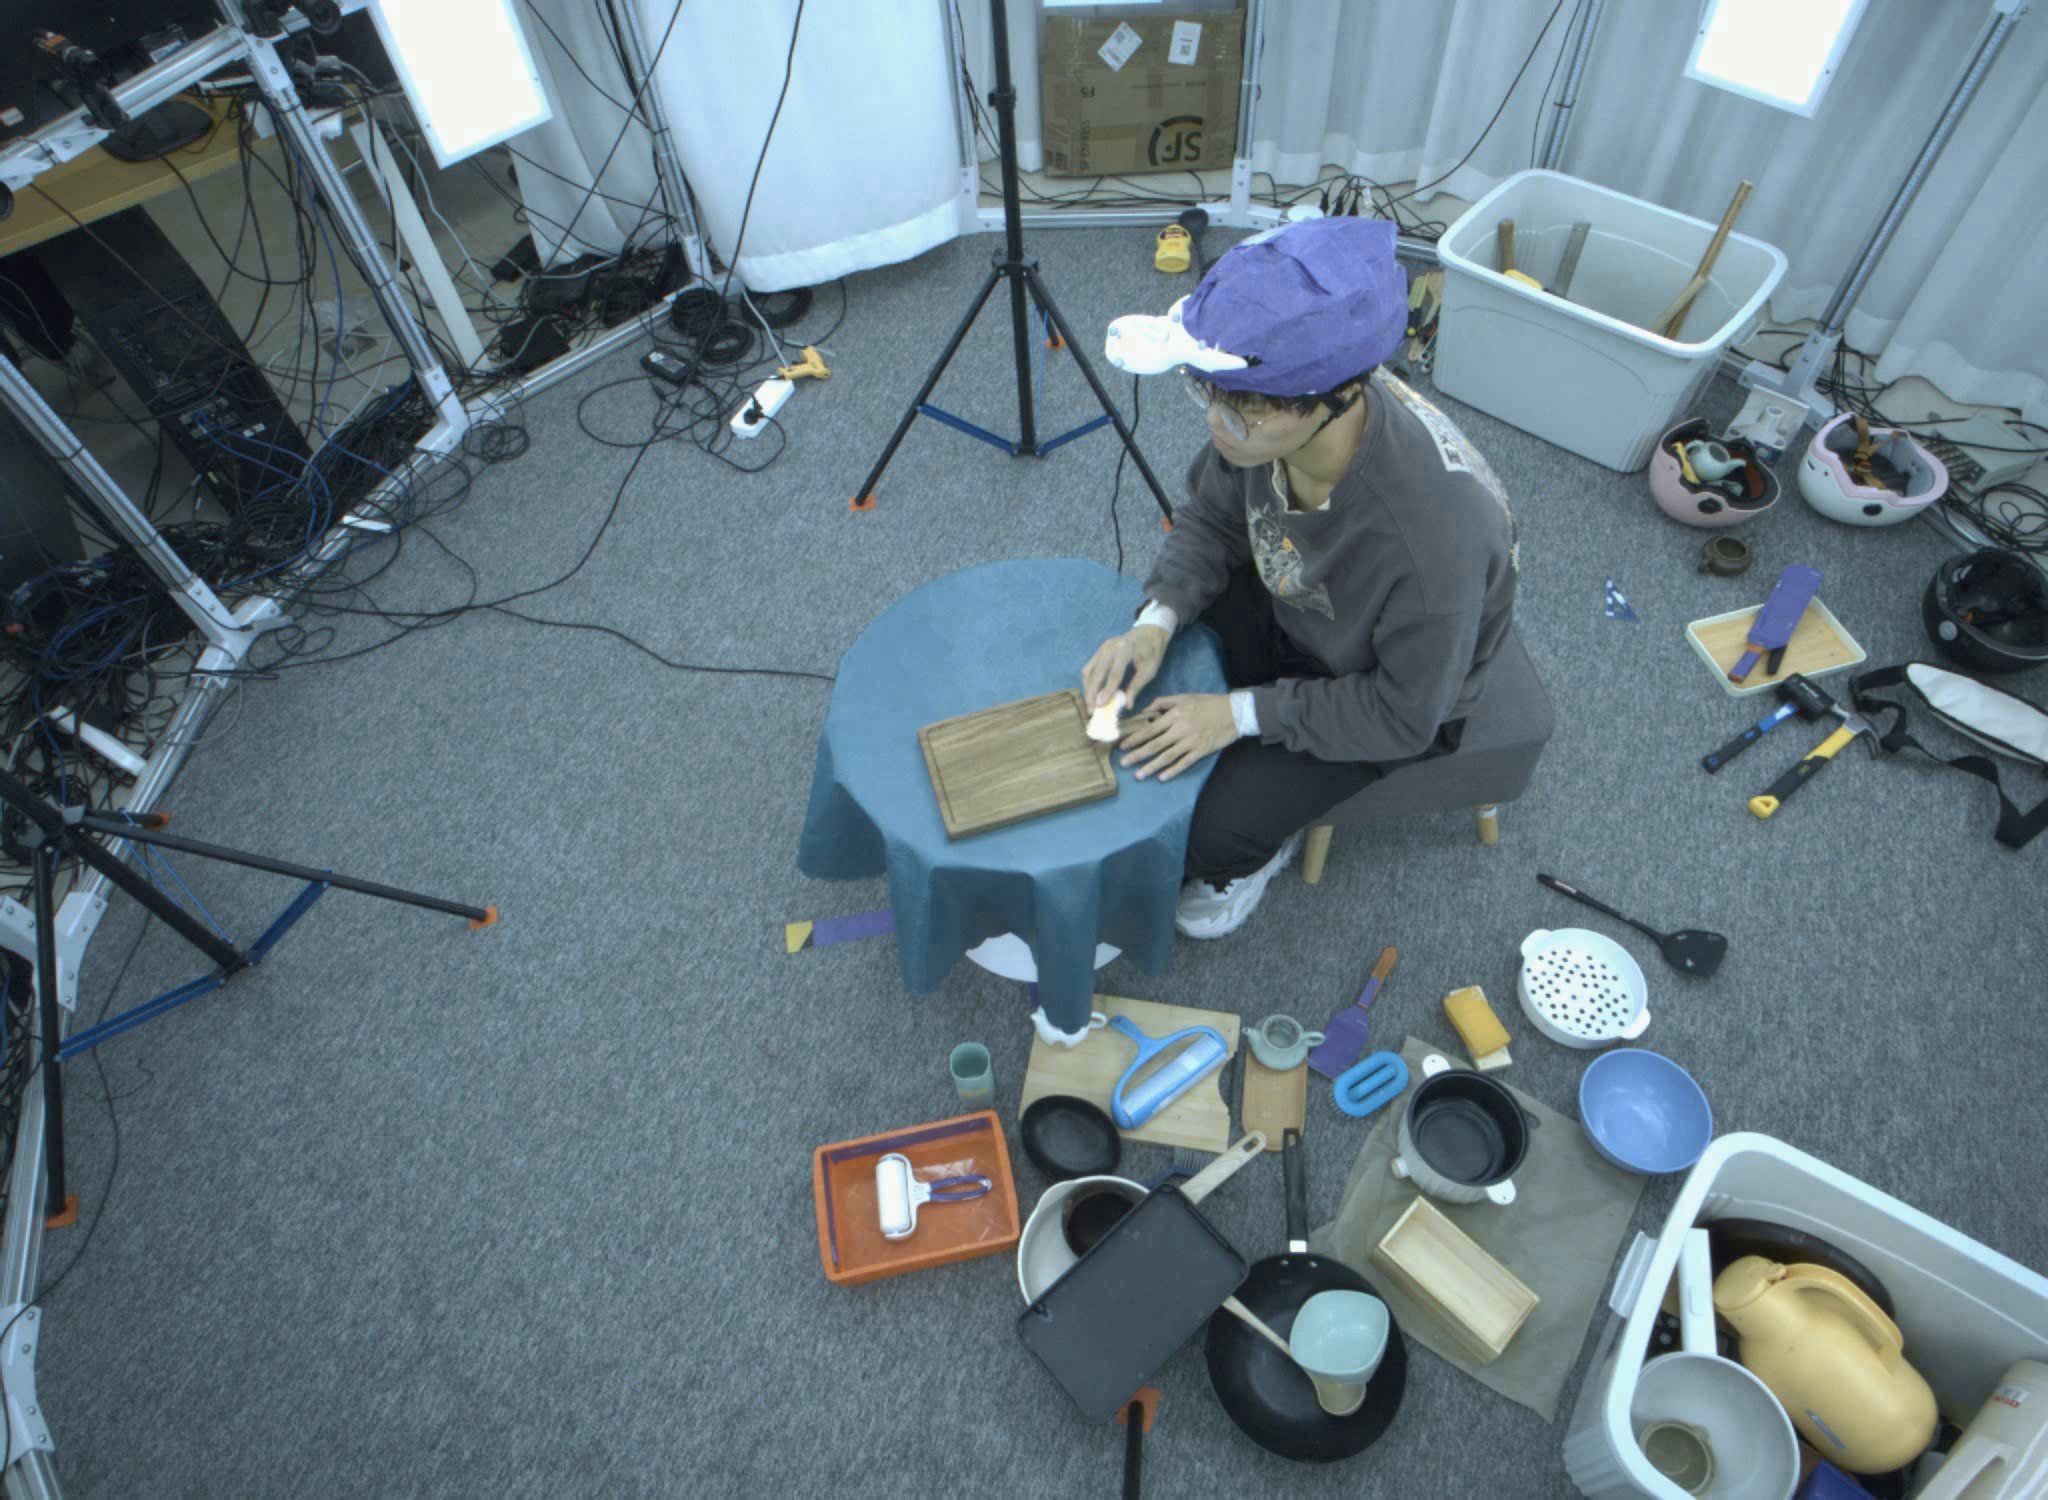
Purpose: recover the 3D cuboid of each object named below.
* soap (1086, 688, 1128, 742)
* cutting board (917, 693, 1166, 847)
[{"bbox_3d":[0.120,-0.050,1.776,0.050,0.031,0.094,9,53,8],"label":"soap"},{"bbox_3d":[0.036,0.012,1.762,0.354,0.023,0.198,-14,55,-8],"label":"cutting board"}]
